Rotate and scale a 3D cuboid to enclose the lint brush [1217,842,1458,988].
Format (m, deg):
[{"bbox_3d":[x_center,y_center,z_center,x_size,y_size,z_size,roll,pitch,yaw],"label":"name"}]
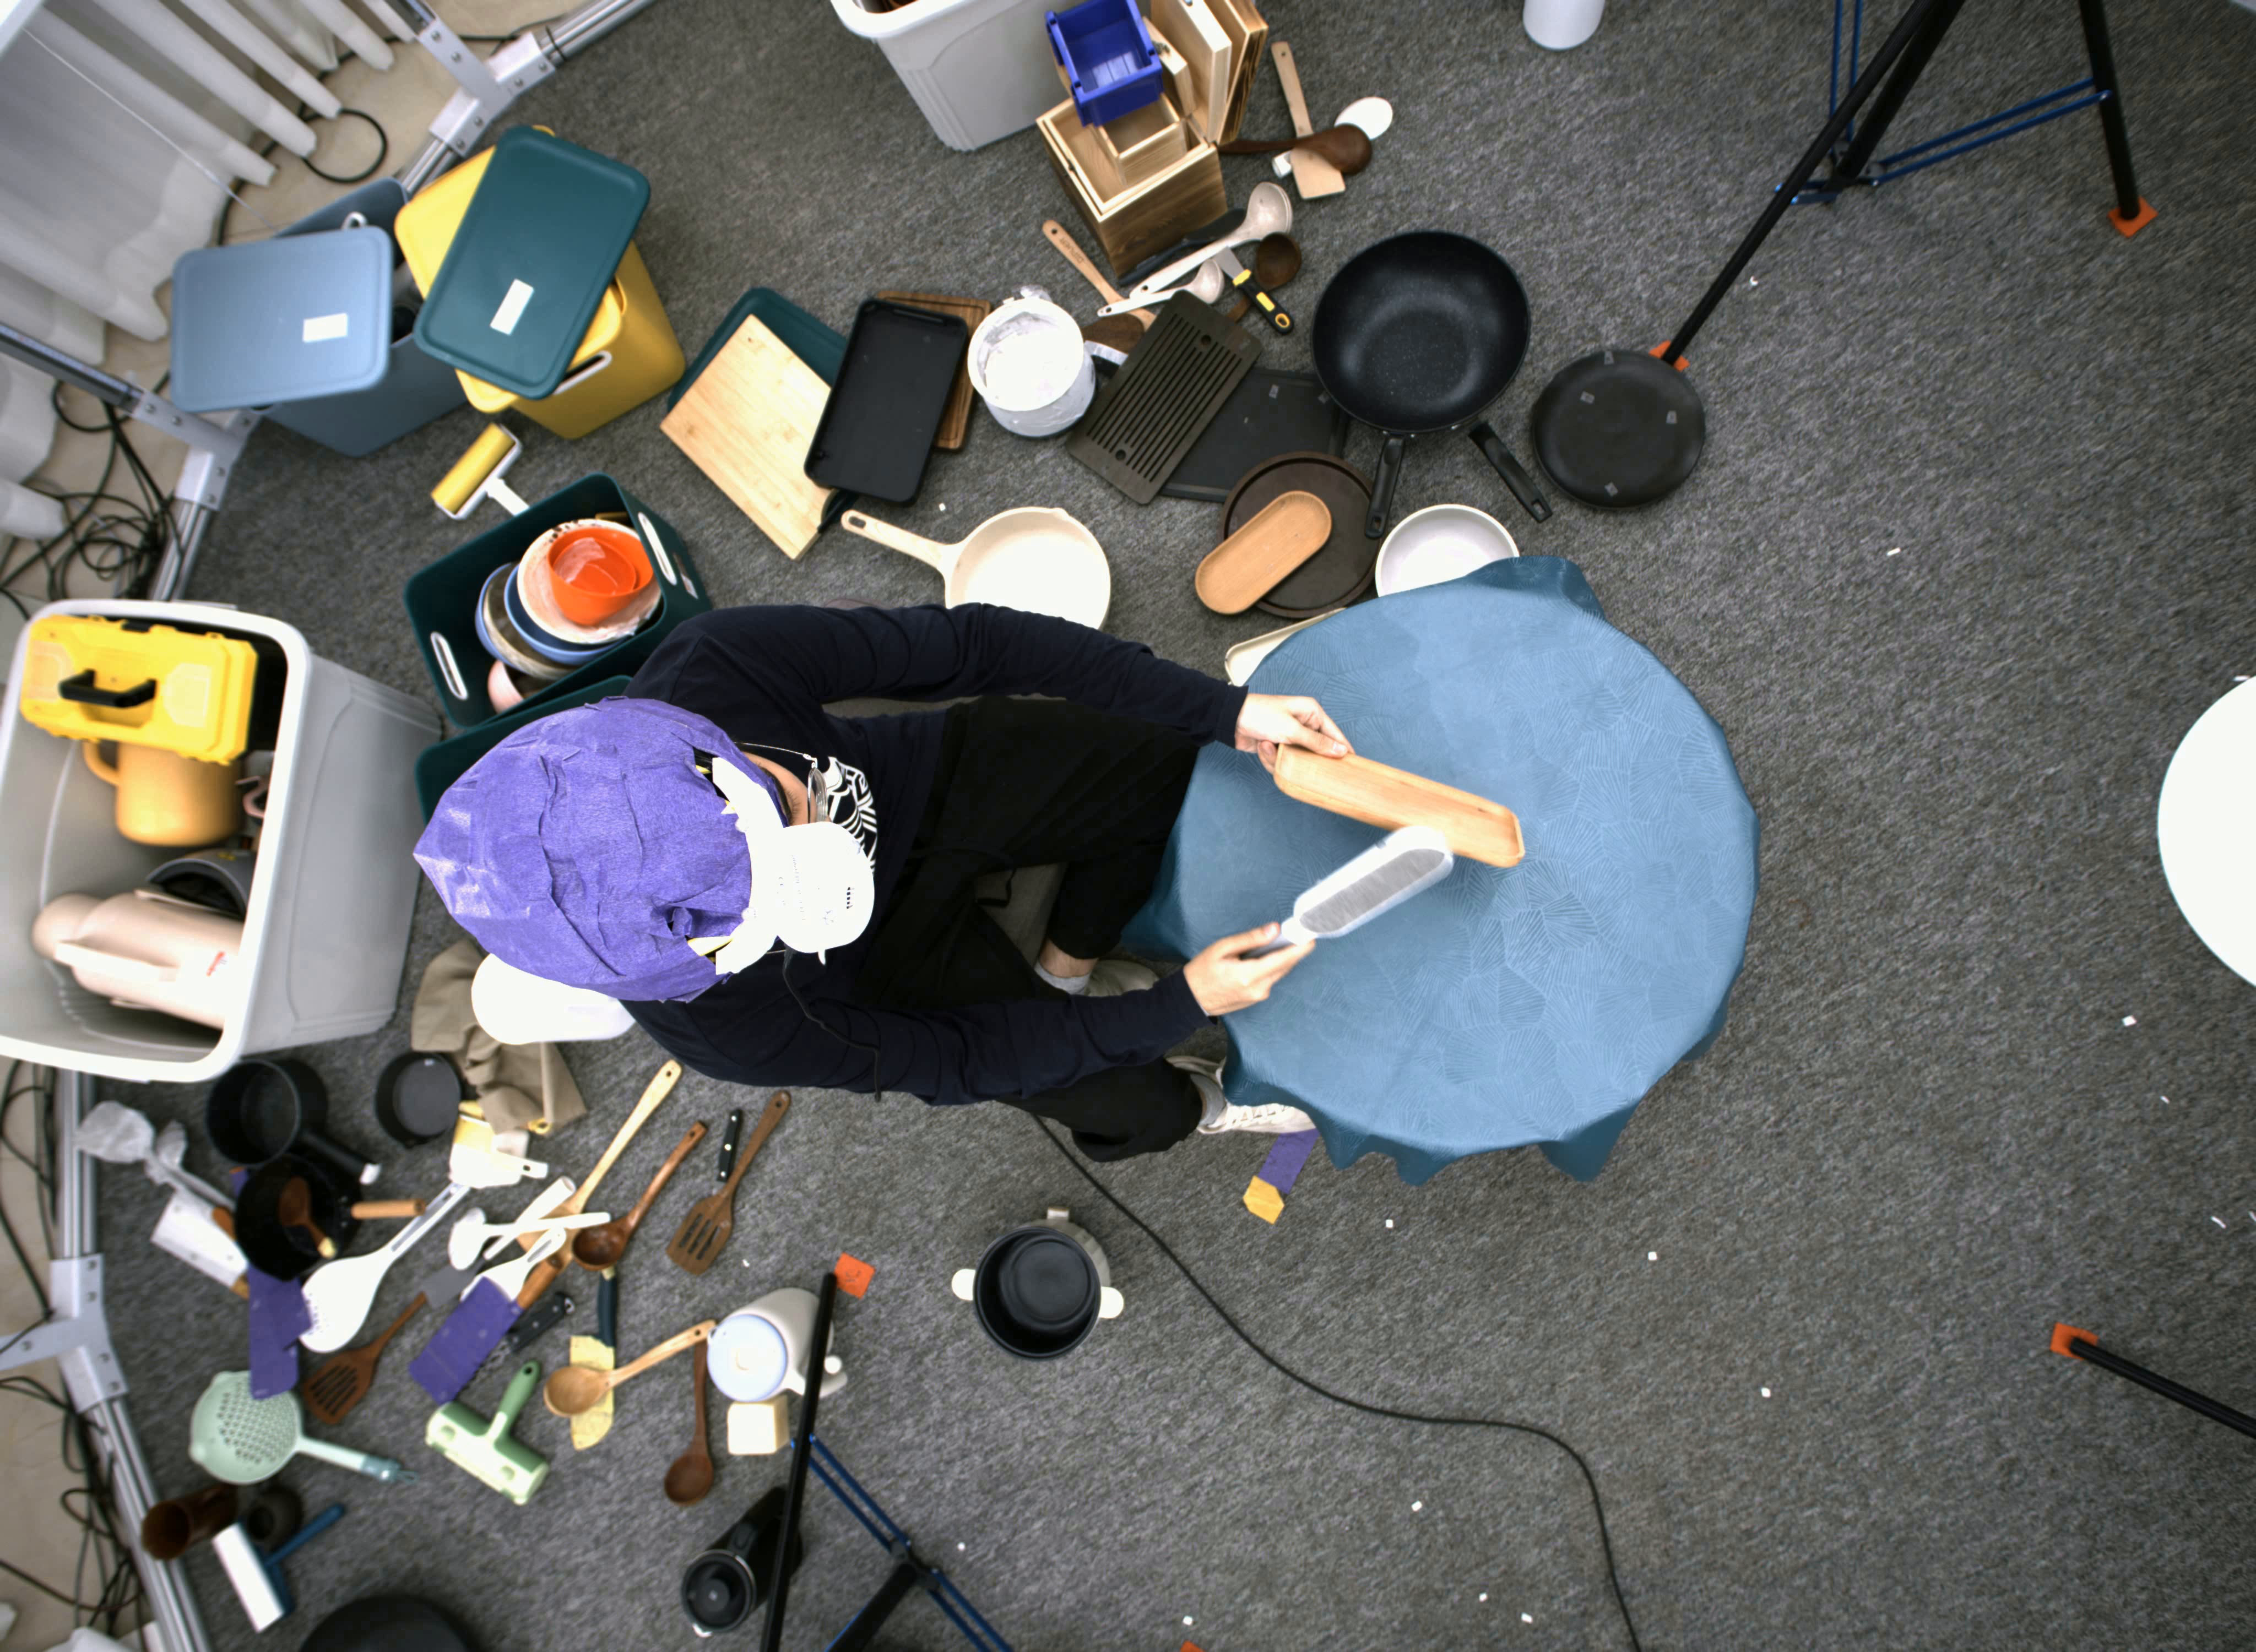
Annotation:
[{"bbox_3d":[0.188,0.089,1.312,0.315,0.060,0.020,-36,39,43],"label":"lint brush"}]

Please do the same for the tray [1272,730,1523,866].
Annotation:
[{"bbox_3d":[0.261,-0.030,1.337,0.251,0.128,0.023,19,115,3],"label":"tray"}]
